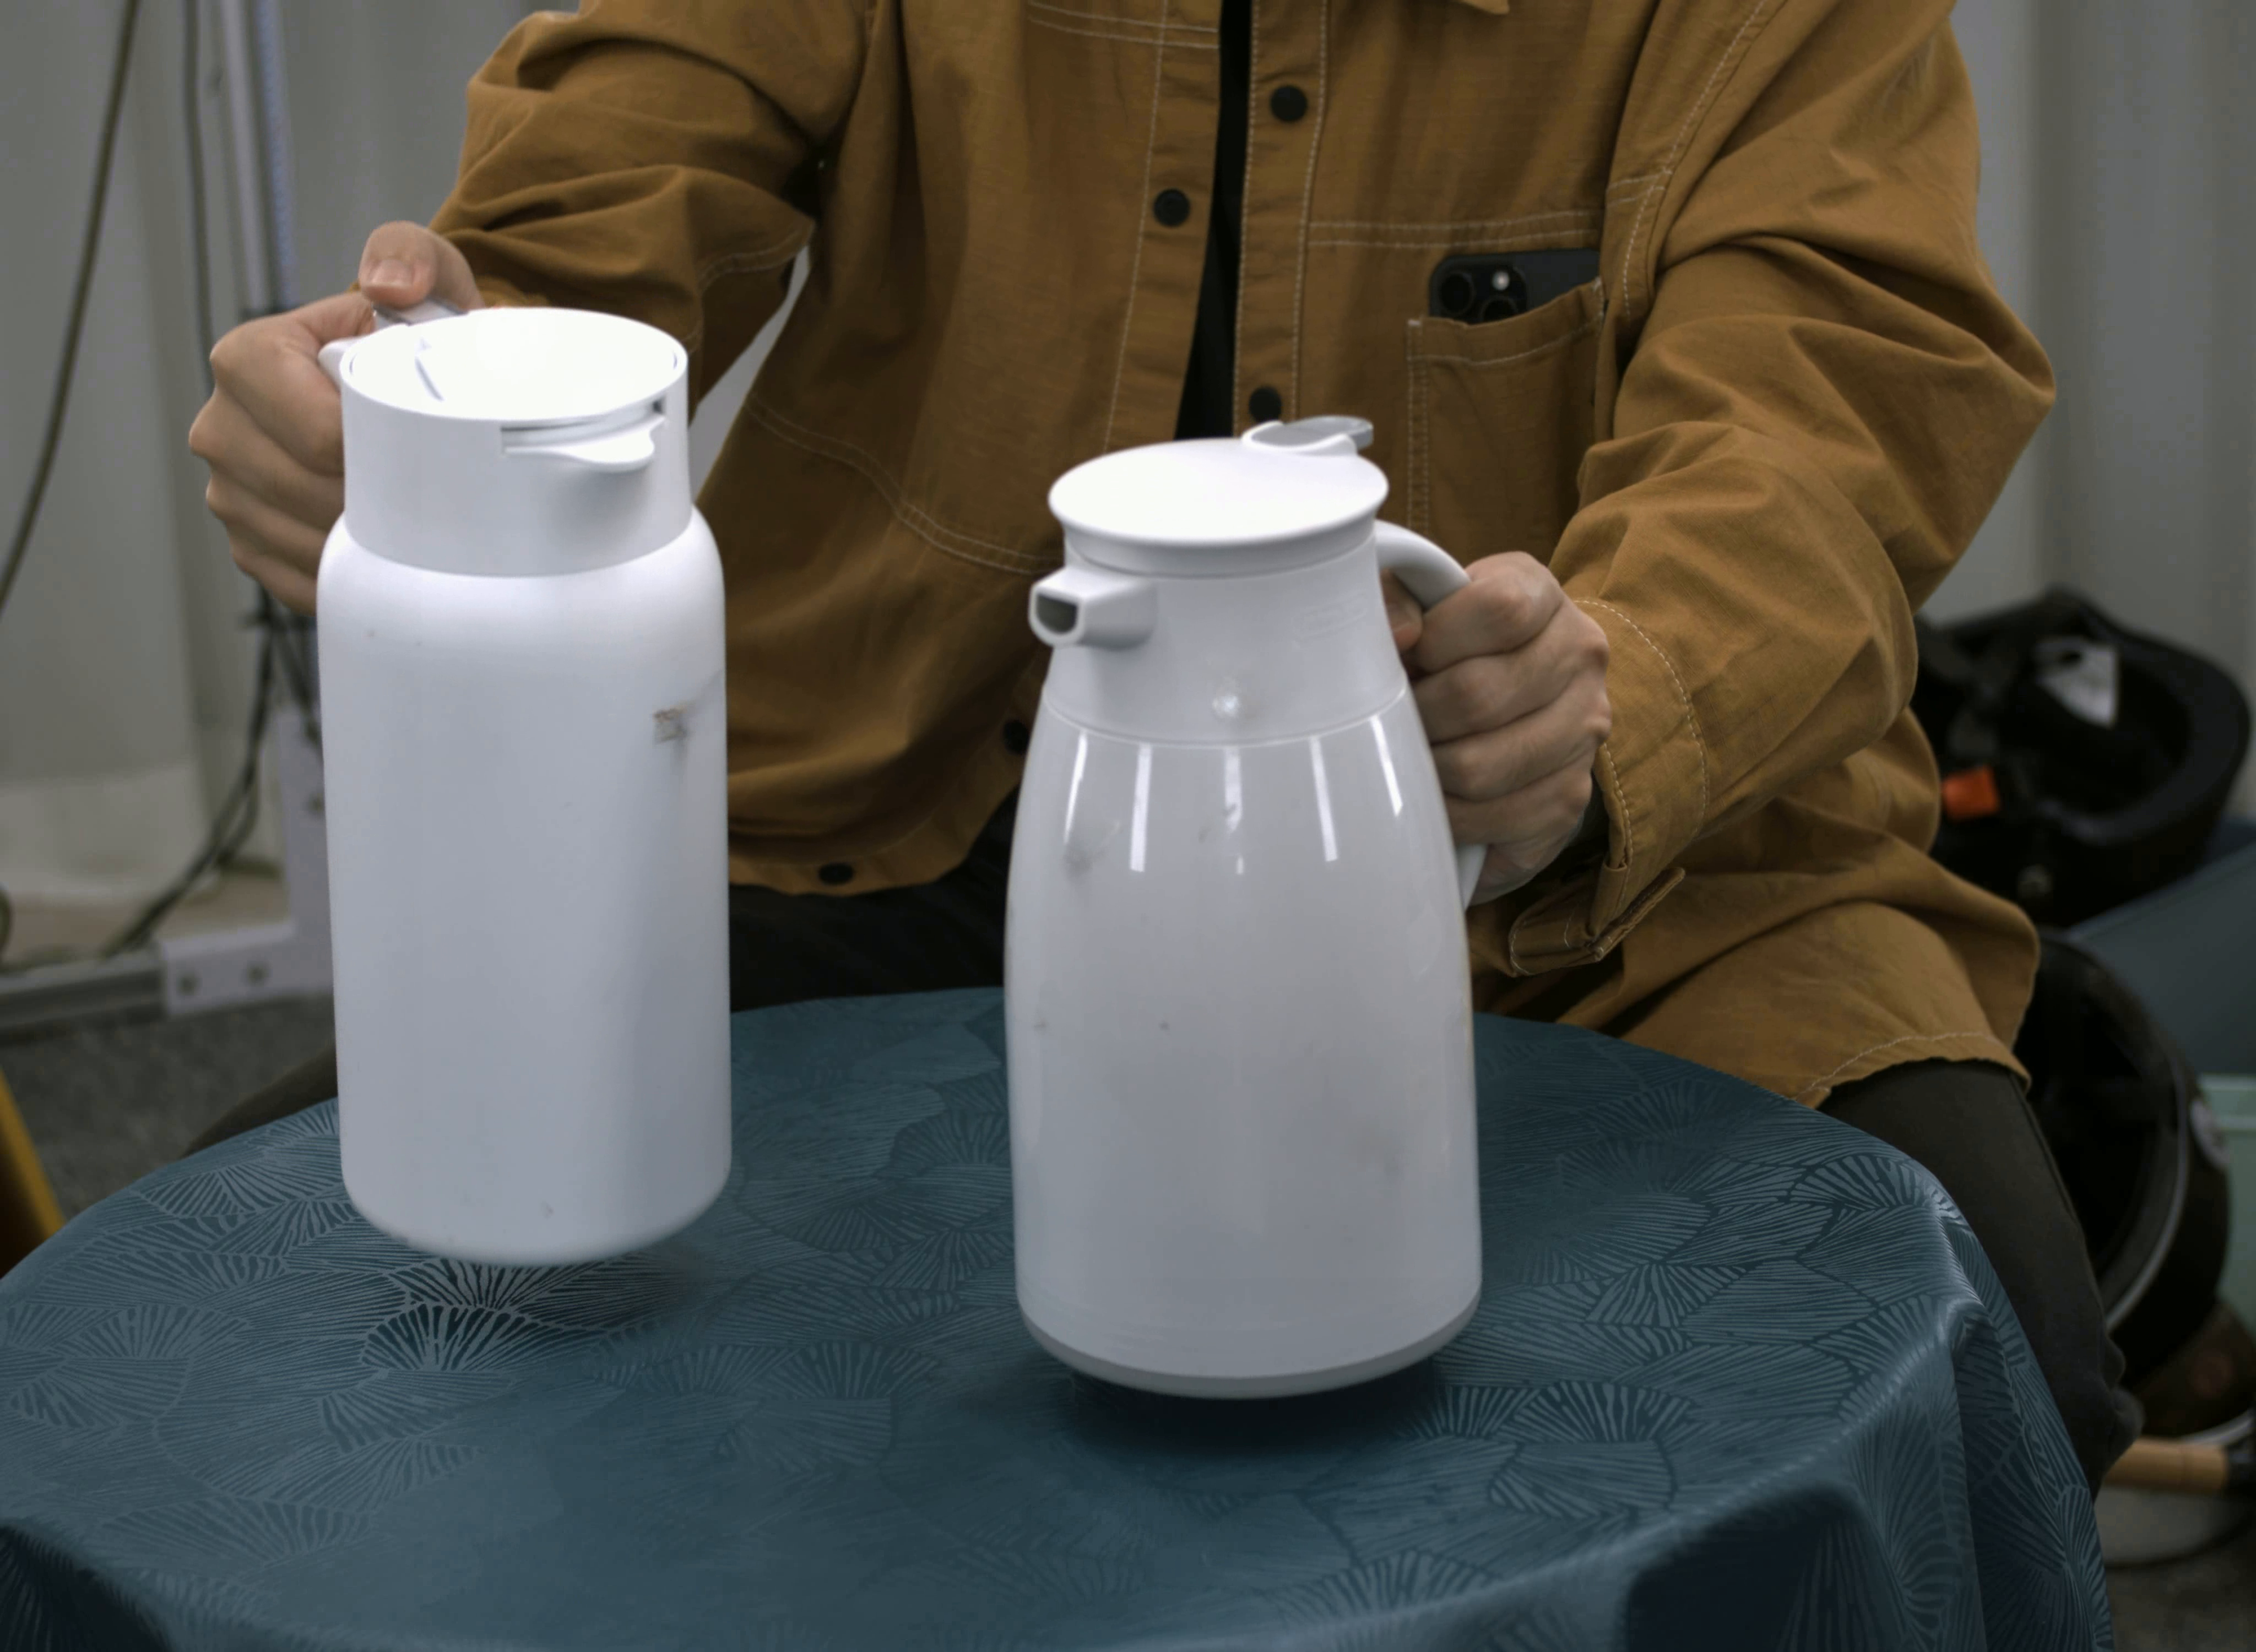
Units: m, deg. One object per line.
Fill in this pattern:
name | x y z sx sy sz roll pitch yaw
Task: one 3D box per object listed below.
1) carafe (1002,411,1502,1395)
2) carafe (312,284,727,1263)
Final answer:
carafe | 0.041 0.011 1.518 0.133 0.247 0.167 15 25 42
carafe | -0.187 -0.019 1.611 0.123 0.267 0.174 -16 28 -32
